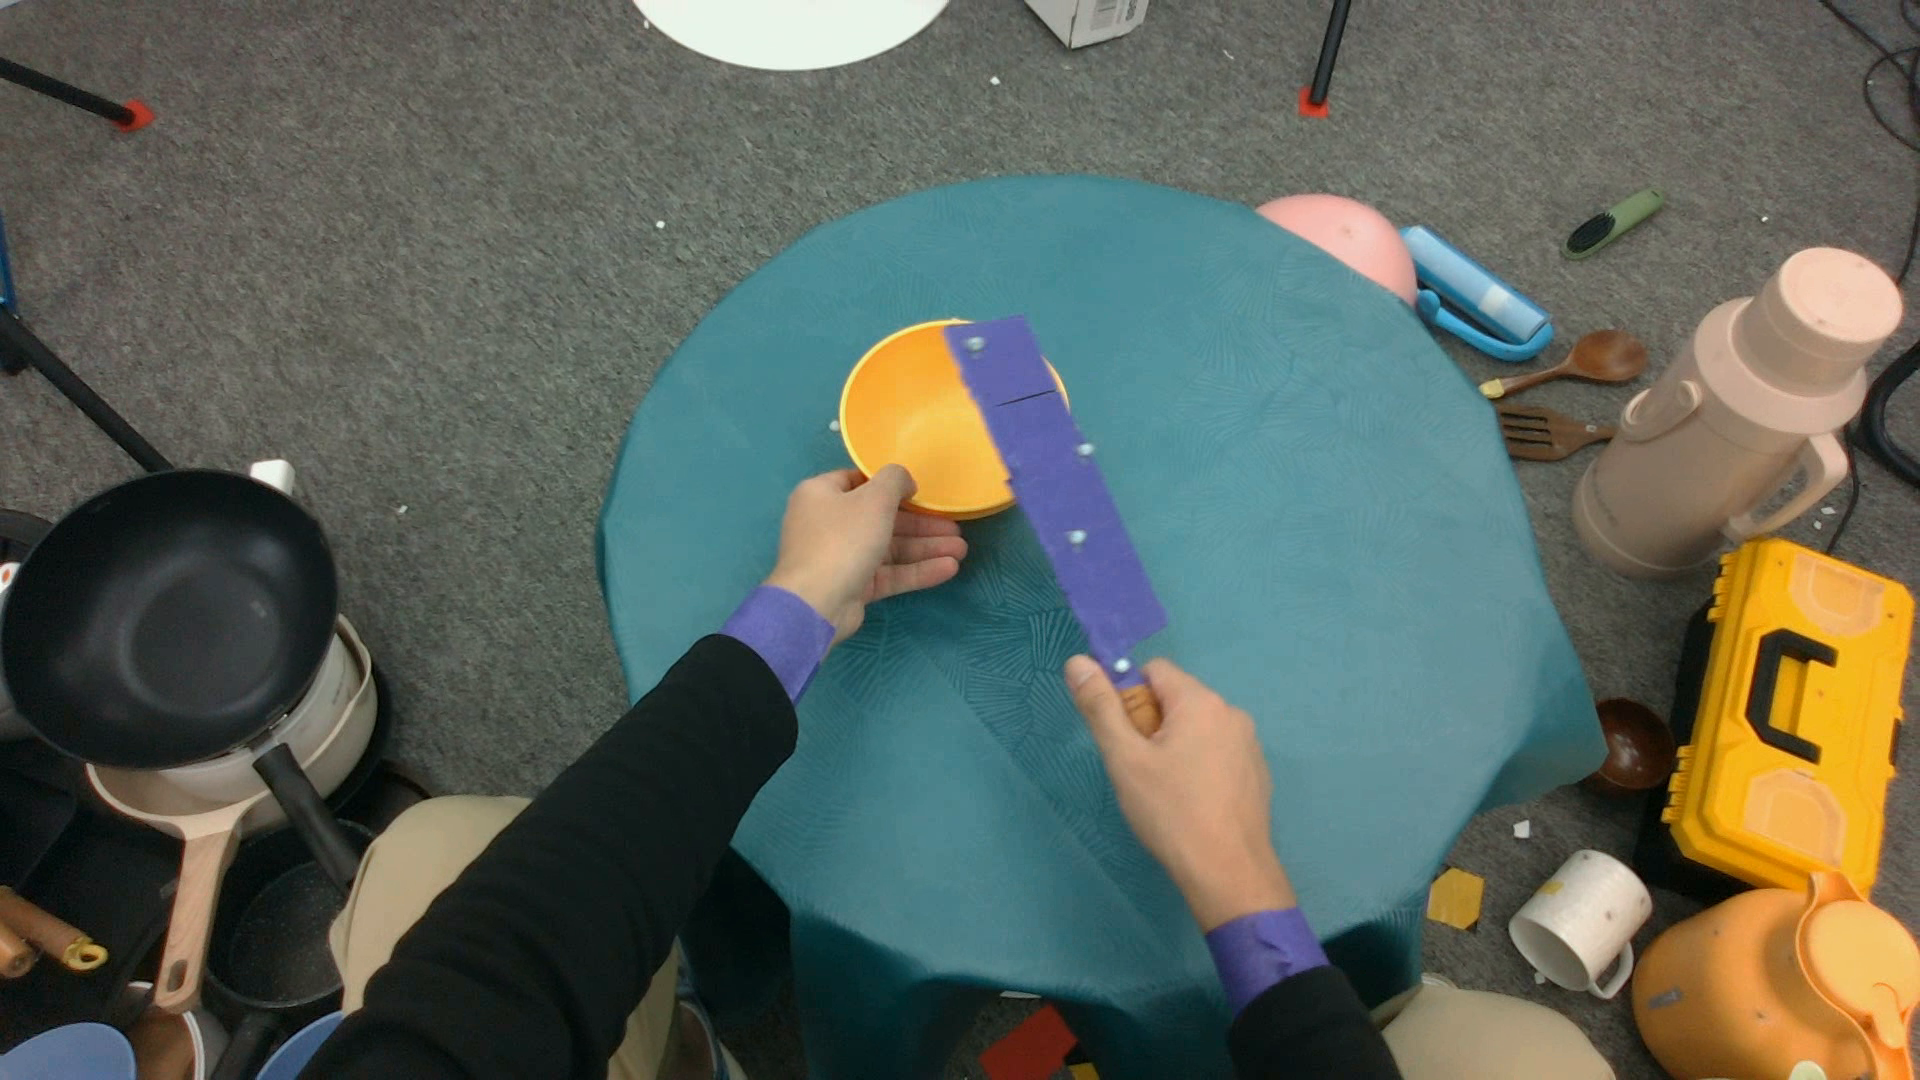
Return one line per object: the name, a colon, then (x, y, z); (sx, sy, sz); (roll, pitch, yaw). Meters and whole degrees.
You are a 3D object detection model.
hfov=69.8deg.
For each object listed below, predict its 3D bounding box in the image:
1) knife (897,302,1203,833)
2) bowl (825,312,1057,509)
knife: (0.065, 0.005, 0.772); (0.104, 0.032, 0.315); (-23, 86, -54)
bowl: (-0.012, -0.072, 0.881); (0.145, 0.060, 0.146); (1, 60, -1)
